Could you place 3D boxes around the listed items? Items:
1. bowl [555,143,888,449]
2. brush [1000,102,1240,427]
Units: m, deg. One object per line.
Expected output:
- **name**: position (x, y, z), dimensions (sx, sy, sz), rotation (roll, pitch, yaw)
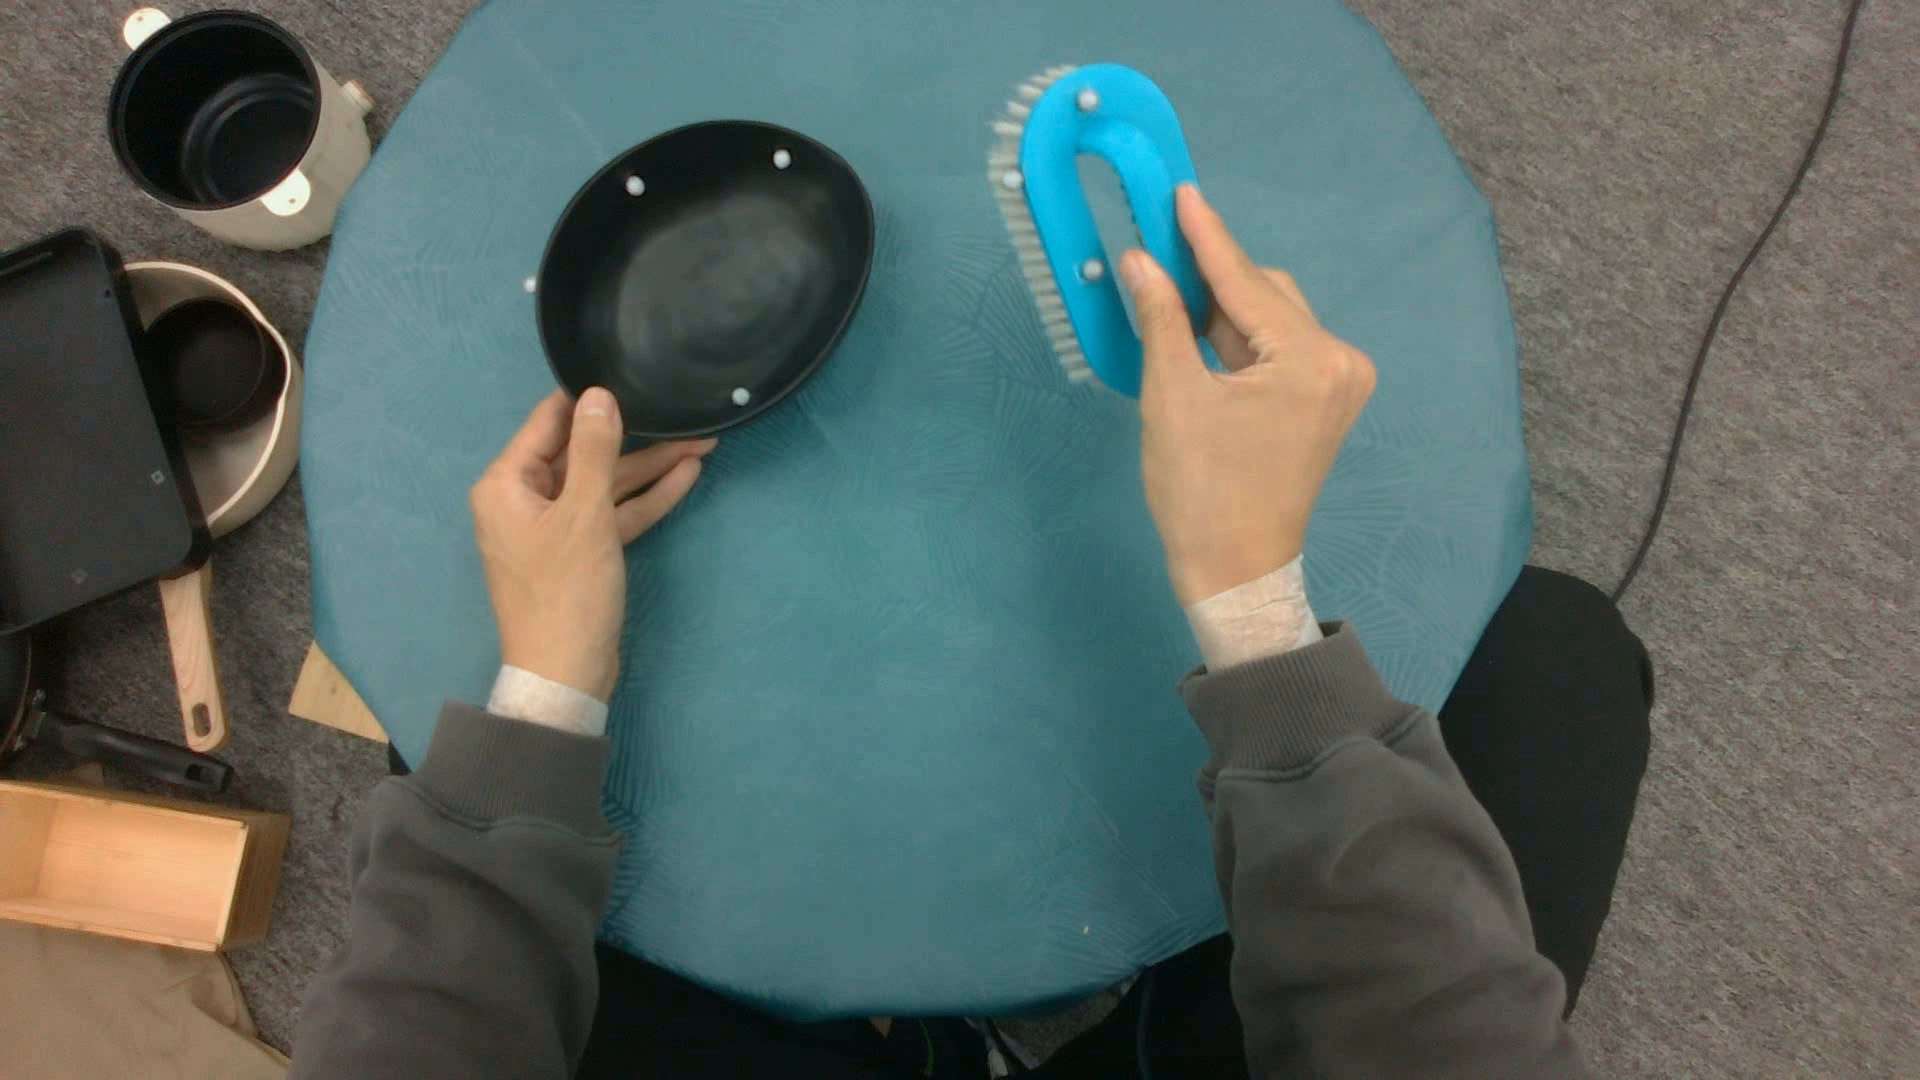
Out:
- **bowl**: position (-0.111, -0.114, 0.670), dimensions (0.137, 0.066, 0.170), rotation (43, 82, 7)
- **brush**: position (0.076, -0.116, 0.579), dimensions (0.084, 0.064, 0.141), rotation (-27, 110, -17)
